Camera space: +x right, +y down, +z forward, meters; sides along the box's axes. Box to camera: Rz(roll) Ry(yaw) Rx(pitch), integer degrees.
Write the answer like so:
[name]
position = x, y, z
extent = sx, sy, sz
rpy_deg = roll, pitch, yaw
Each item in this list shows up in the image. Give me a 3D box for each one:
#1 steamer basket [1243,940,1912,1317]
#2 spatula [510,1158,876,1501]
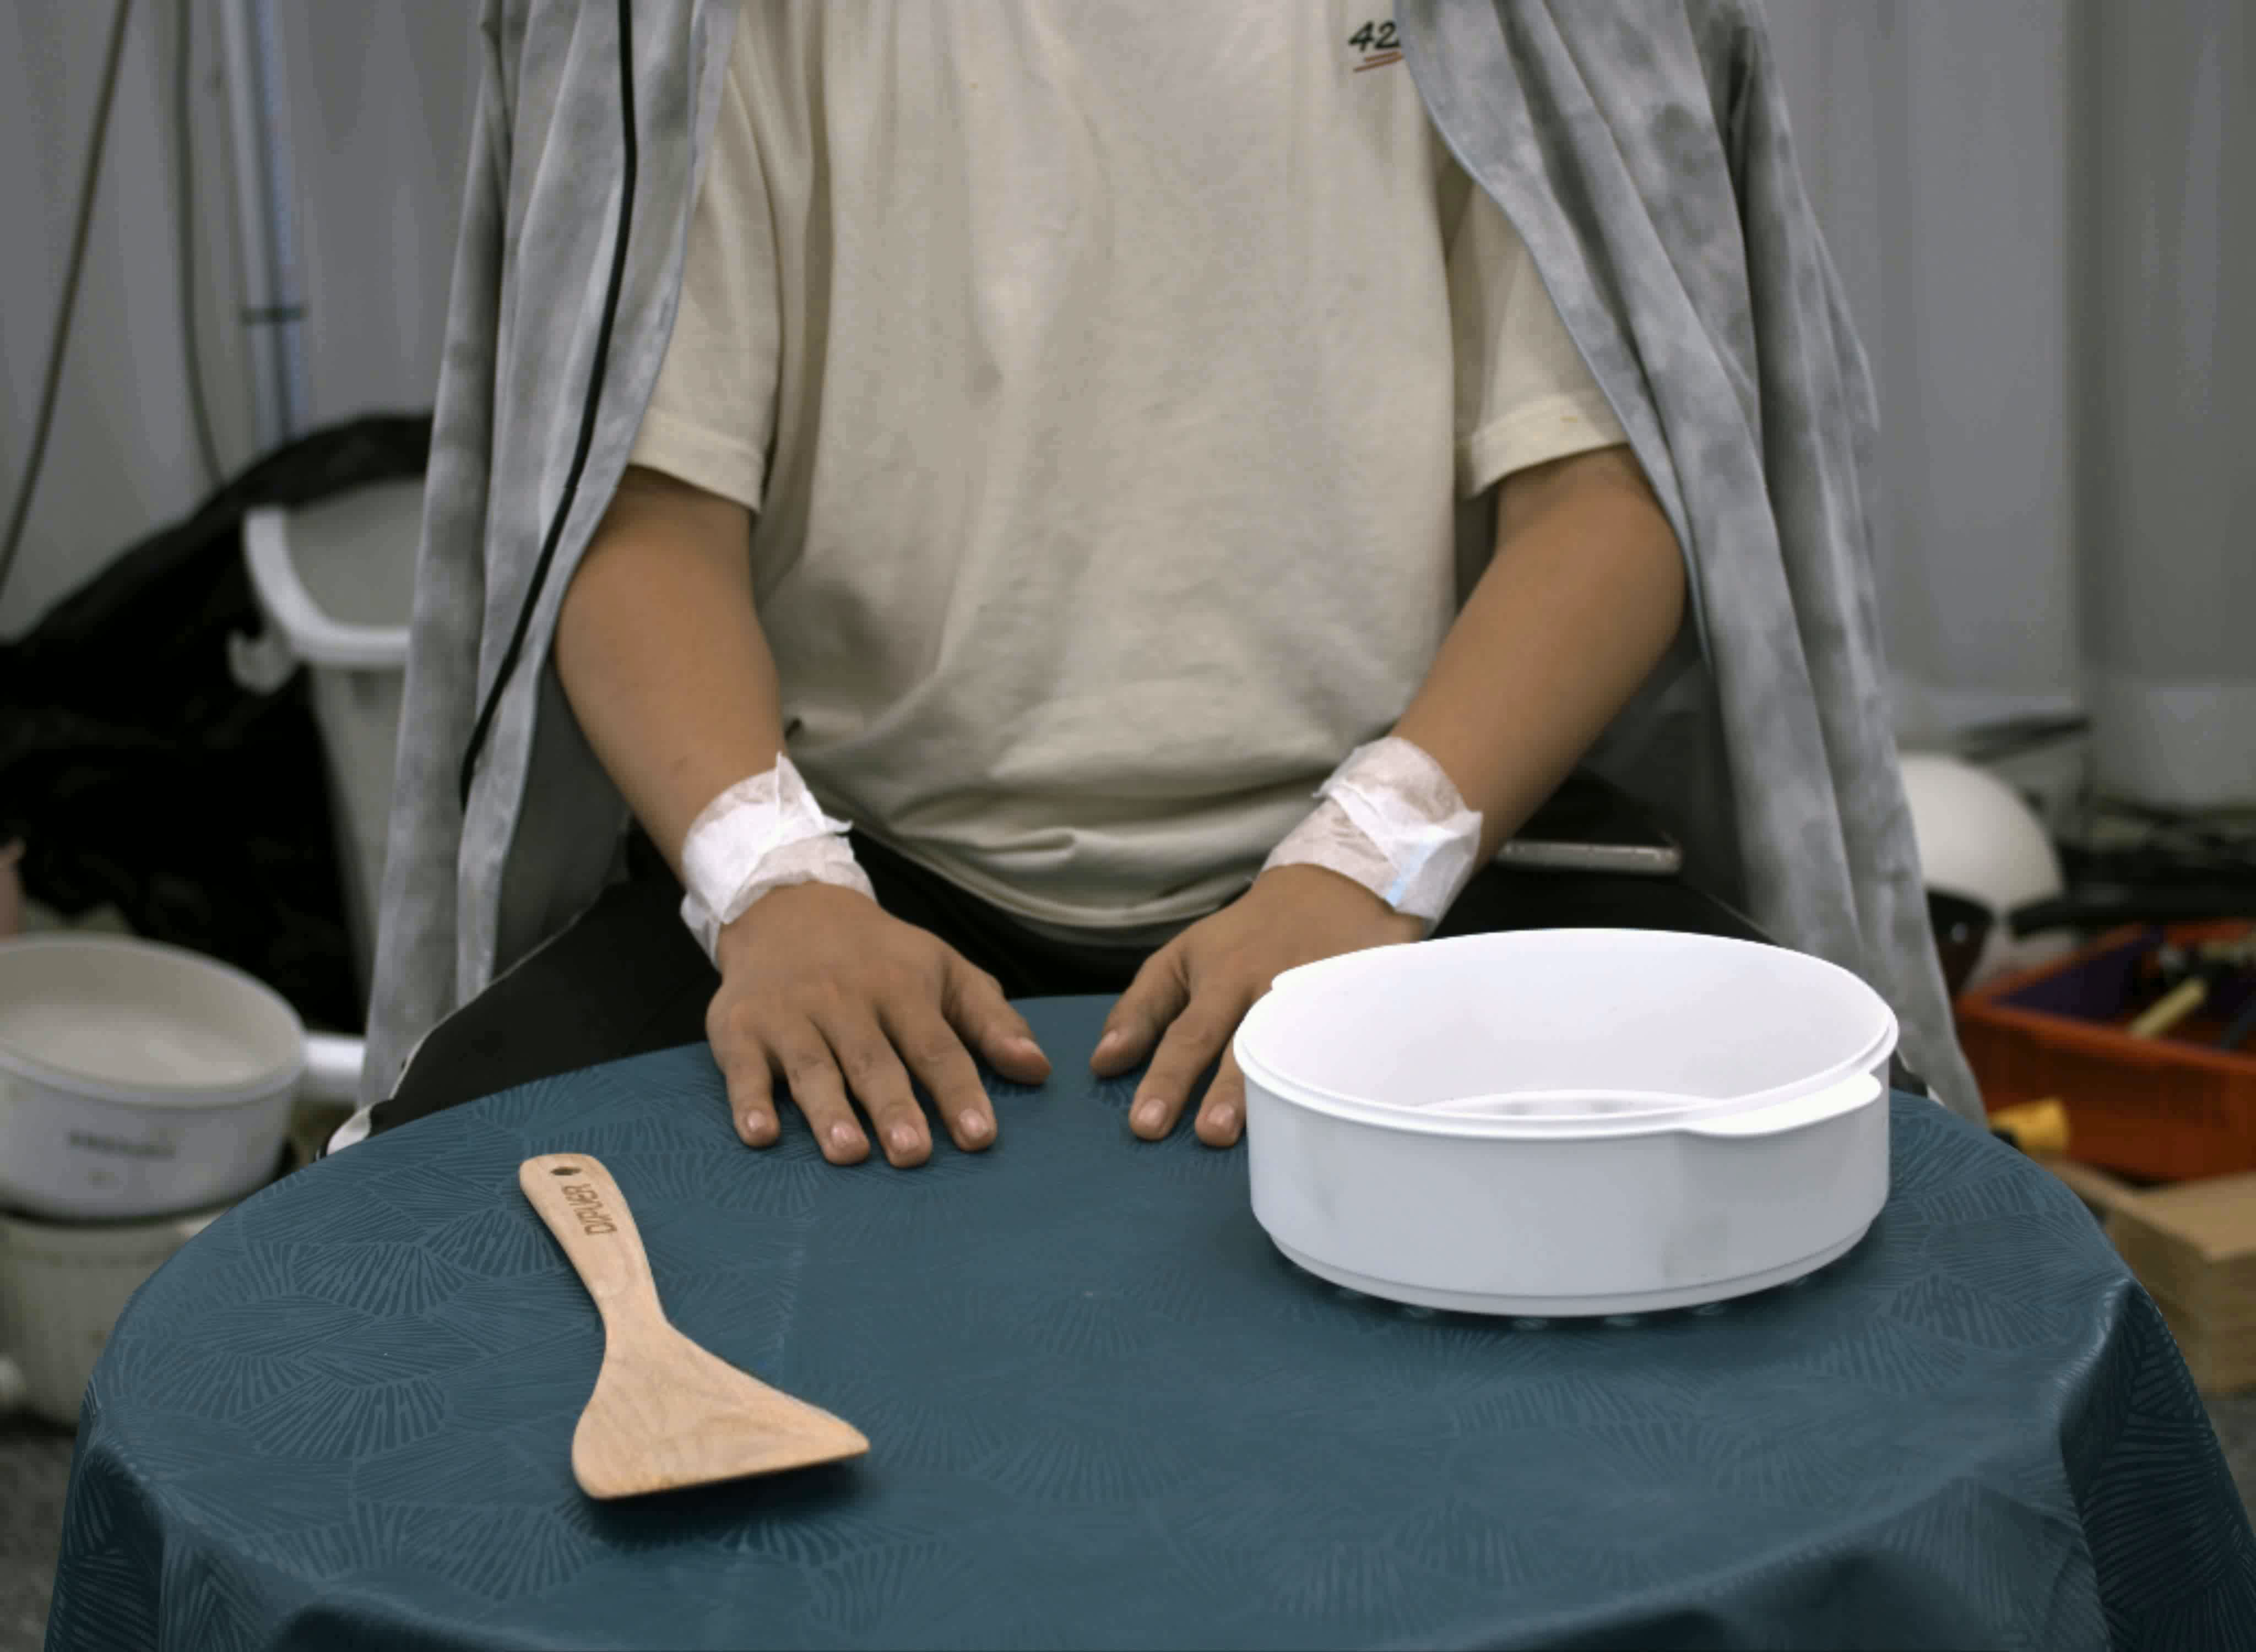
[steamer basket]
position = 0.136, 0.091, 1.652
extent = 0.201, 0.069, 0.232
rpy_deg = -11, 16, -34
[spatula]
position = -0.143, 0.143, 1.606
extent = 0.079, 0.016, 0.330
rpy_deg = -6, 15, -14
